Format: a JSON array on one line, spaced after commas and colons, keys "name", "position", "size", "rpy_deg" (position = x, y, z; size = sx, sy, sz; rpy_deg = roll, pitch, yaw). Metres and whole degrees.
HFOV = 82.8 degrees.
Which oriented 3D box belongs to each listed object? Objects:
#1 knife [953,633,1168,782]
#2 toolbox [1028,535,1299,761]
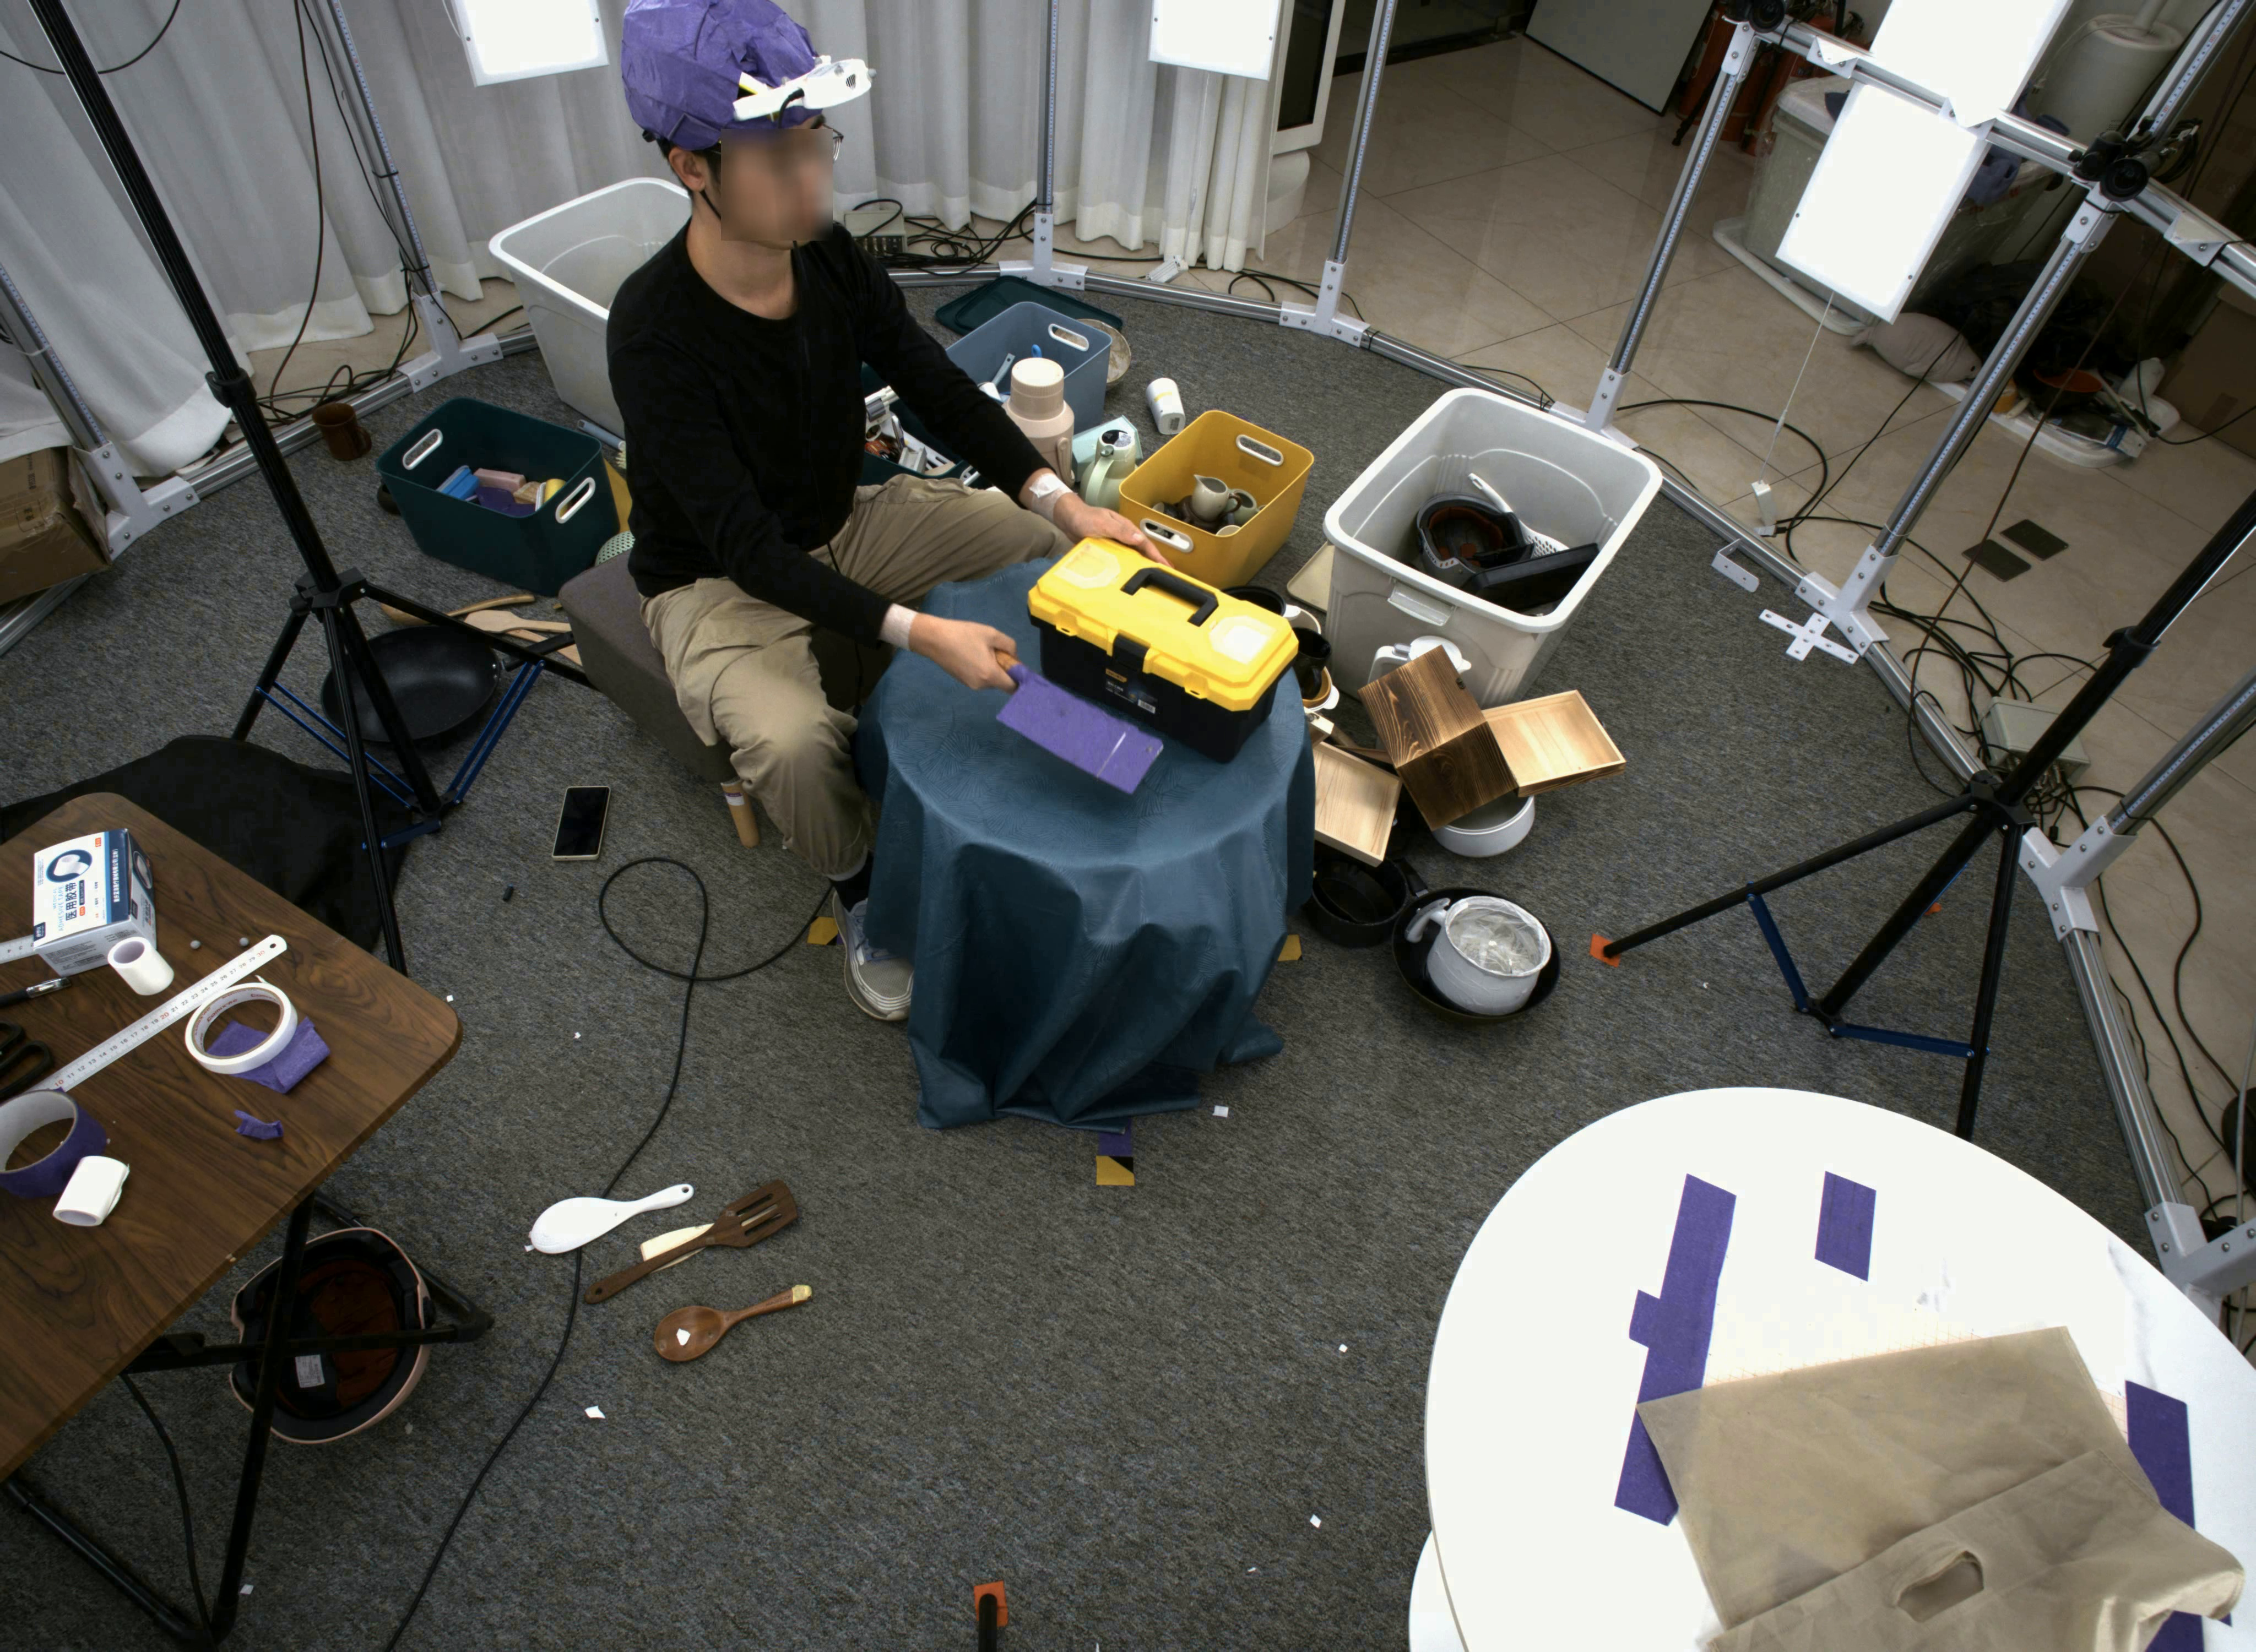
[{"name": "knife", "position": [-0.106, -0.155, 1.673], "size": [0.317, 0.031, 0.105], "rpy_deg": [27, 59, 13]}, {"name": "toolbox", "position": [0.042, -0.244, 1.773], "size": [0.355, 0.168, 0.184], "rpy_deg": [28, 52, 20]}]
